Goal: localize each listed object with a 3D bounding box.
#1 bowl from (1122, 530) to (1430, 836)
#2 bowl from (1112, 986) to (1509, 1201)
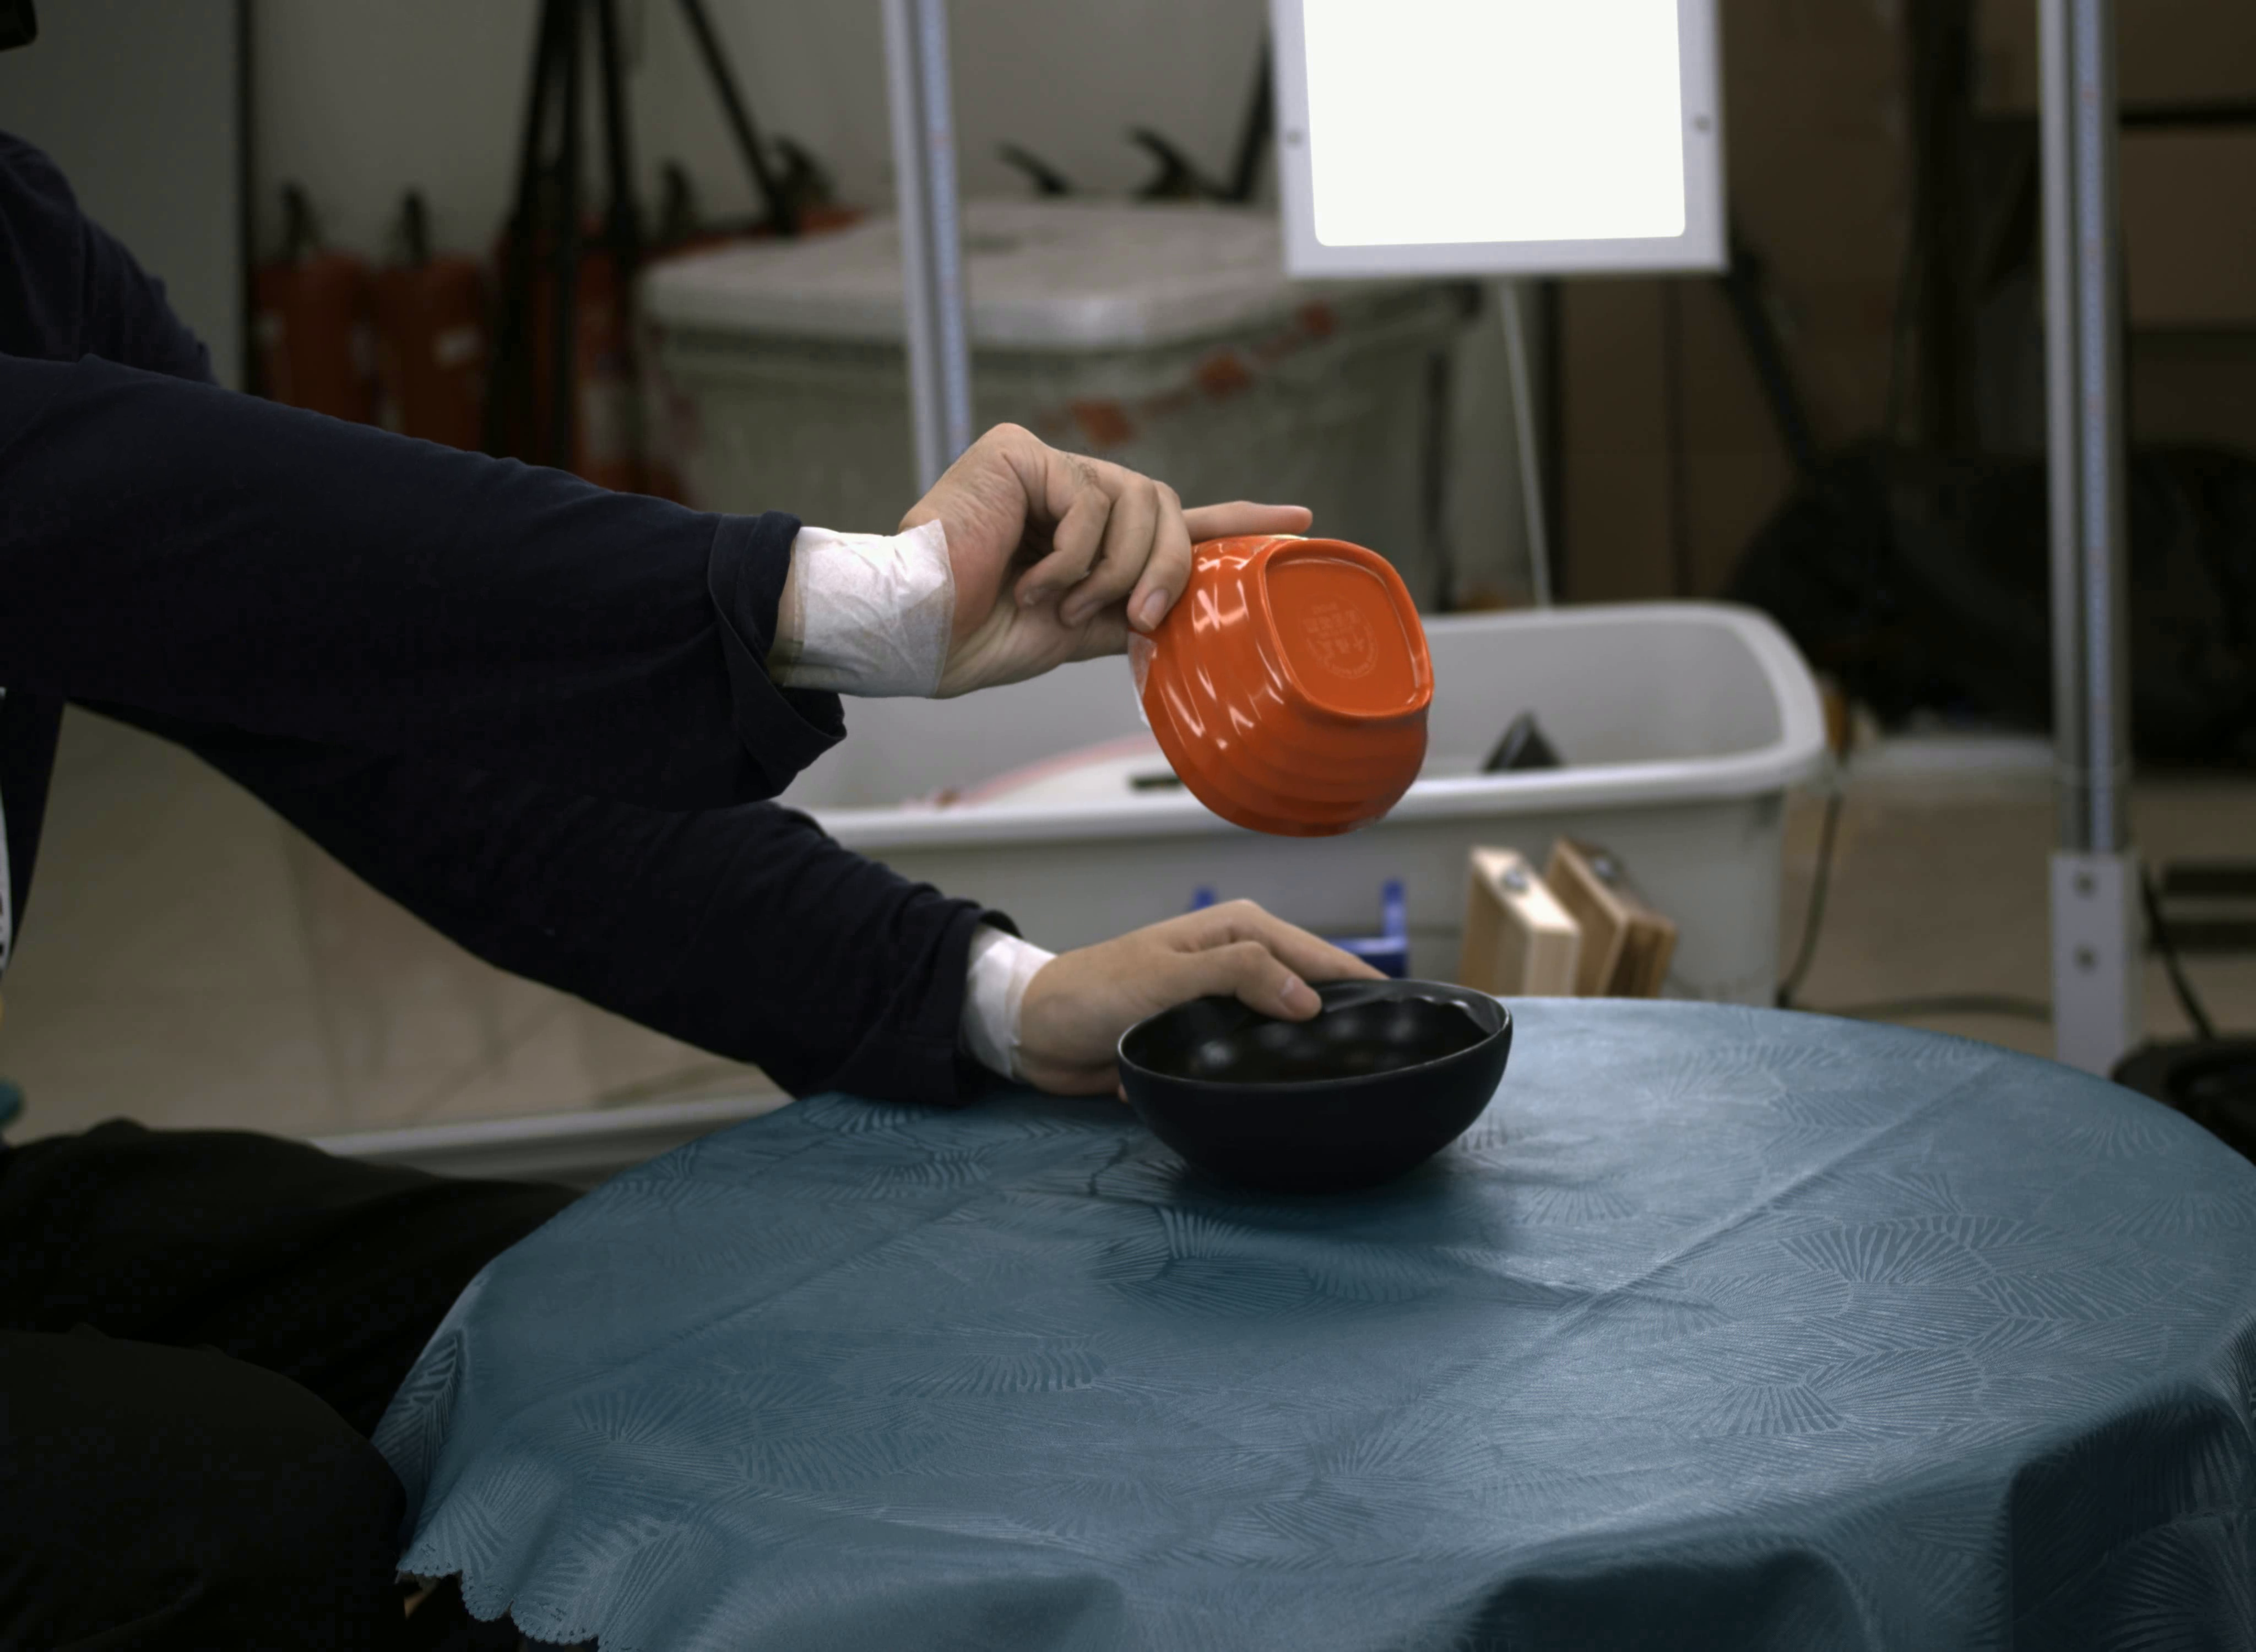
[{"bbox_3d":[0.059,-0.057,1.854,0.116,0.119,0.052,-15,-15,-38],"label":"bowl"},{"bbox_3d":[0.067,0.096,1.908,0.140,0.050,0.140,-9,11,0],"label":"bowl"}]
